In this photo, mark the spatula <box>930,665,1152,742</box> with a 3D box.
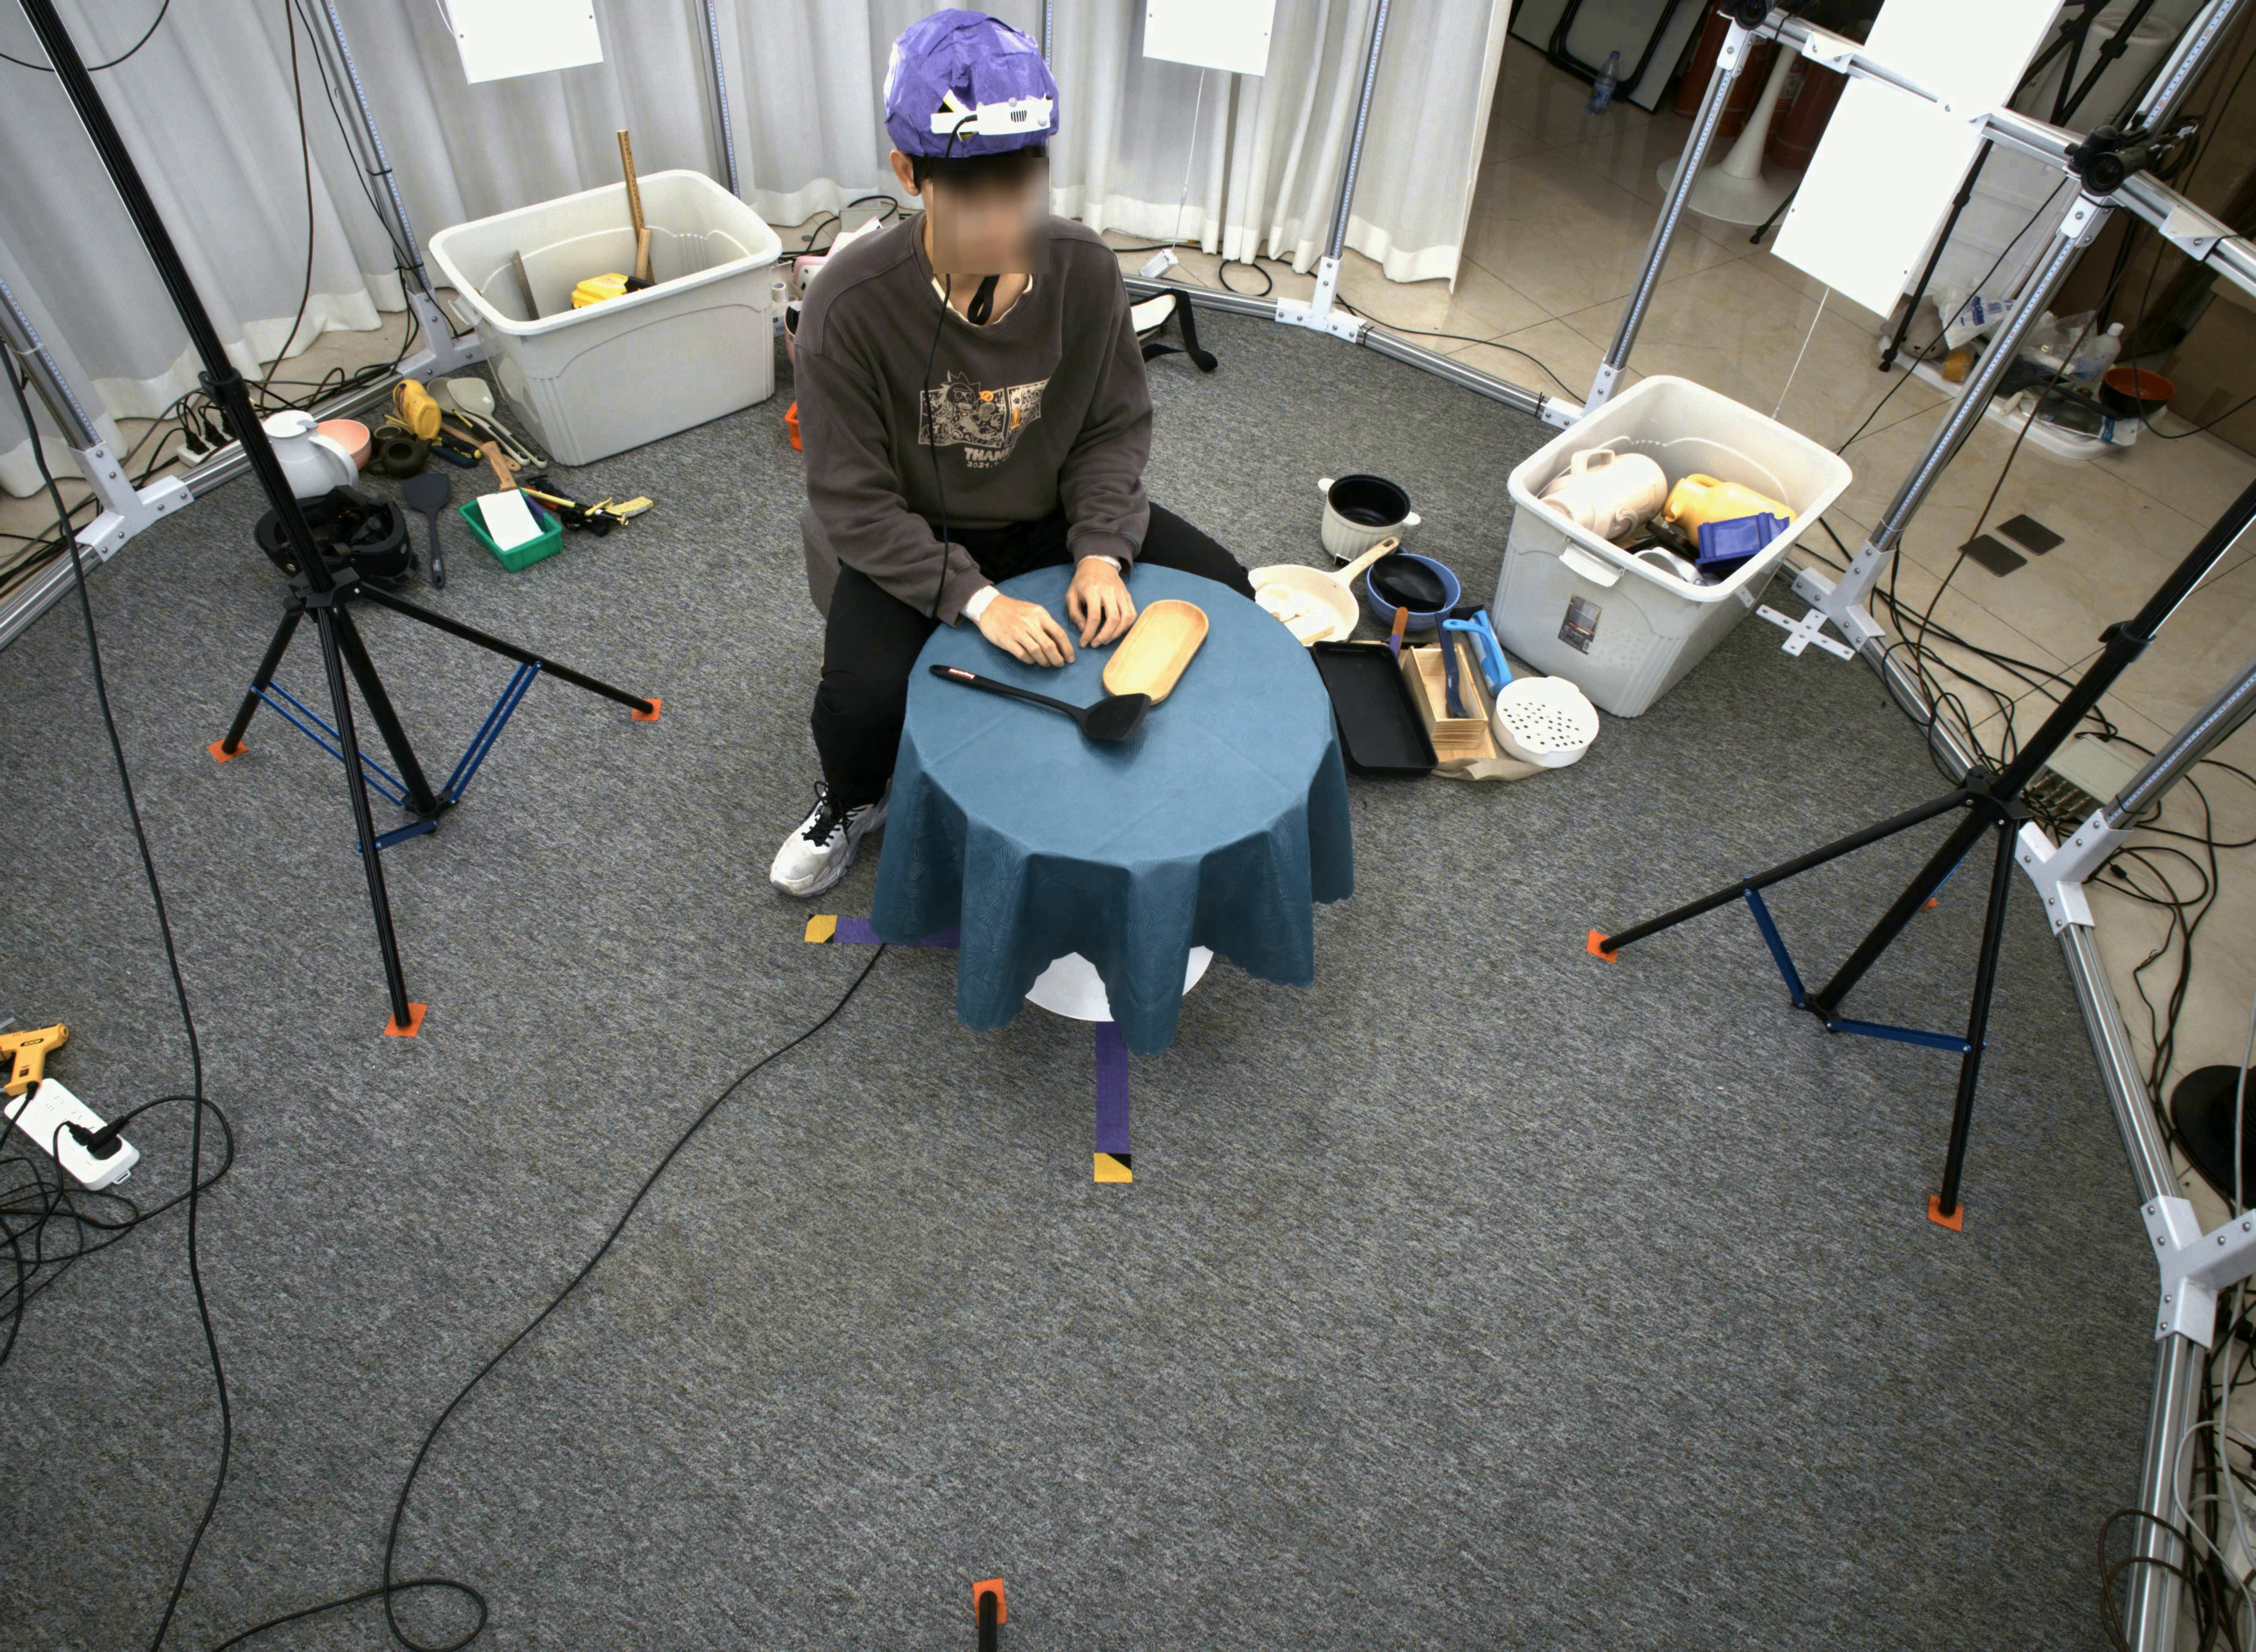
[{"bbox_3d":[-0.130,-0.184,1.794,0.327,0.039,0.101,19,49,12],"label":"spatula"}]

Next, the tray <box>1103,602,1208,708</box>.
[{"bbox_3d":[0.042,-0.251,1.877,0.102,0.020,0.235,20,52,14],"label":"tray"}]
